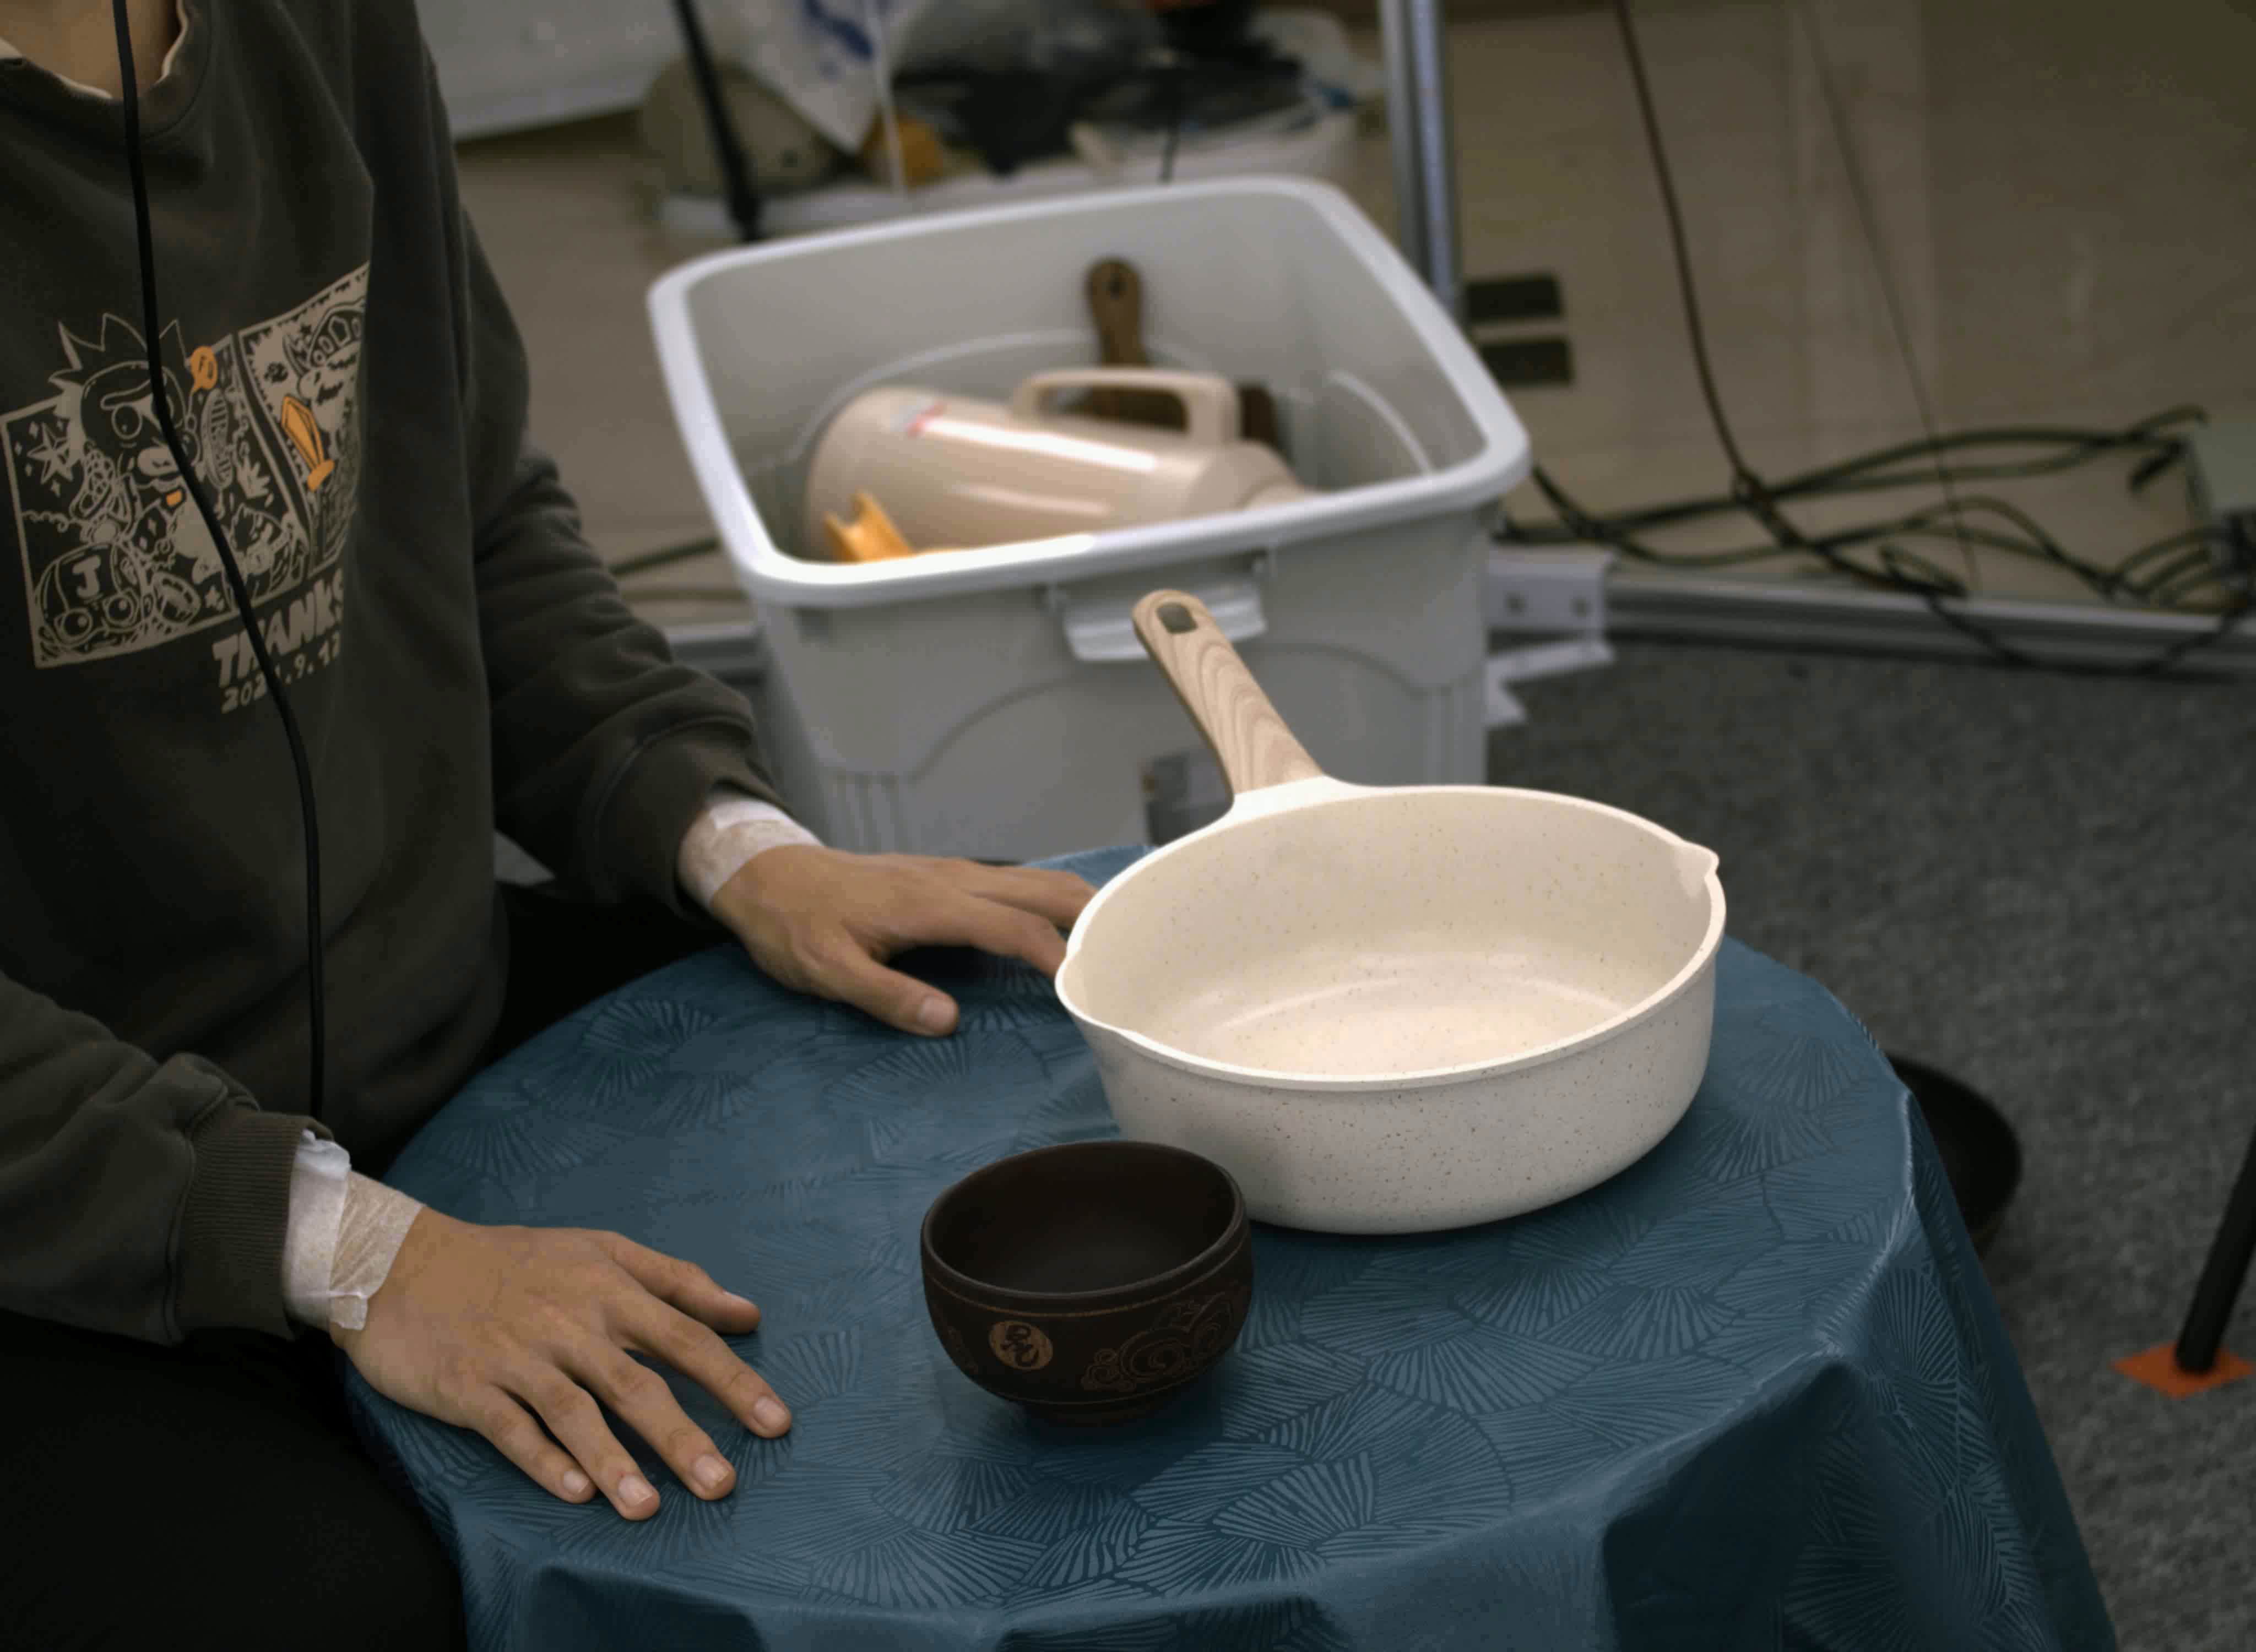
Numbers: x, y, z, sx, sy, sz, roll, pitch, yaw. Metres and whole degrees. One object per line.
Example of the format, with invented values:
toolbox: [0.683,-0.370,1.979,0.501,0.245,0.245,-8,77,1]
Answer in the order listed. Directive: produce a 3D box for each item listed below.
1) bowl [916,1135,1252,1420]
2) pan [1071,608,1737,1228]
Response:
bowl: [-0.013,0.166,2.005,0.118,0.071,0.116,-7,26,3]
pan: [0.083,0.031,2.240,0.262,0.103,0.429,-15,26,-12]
